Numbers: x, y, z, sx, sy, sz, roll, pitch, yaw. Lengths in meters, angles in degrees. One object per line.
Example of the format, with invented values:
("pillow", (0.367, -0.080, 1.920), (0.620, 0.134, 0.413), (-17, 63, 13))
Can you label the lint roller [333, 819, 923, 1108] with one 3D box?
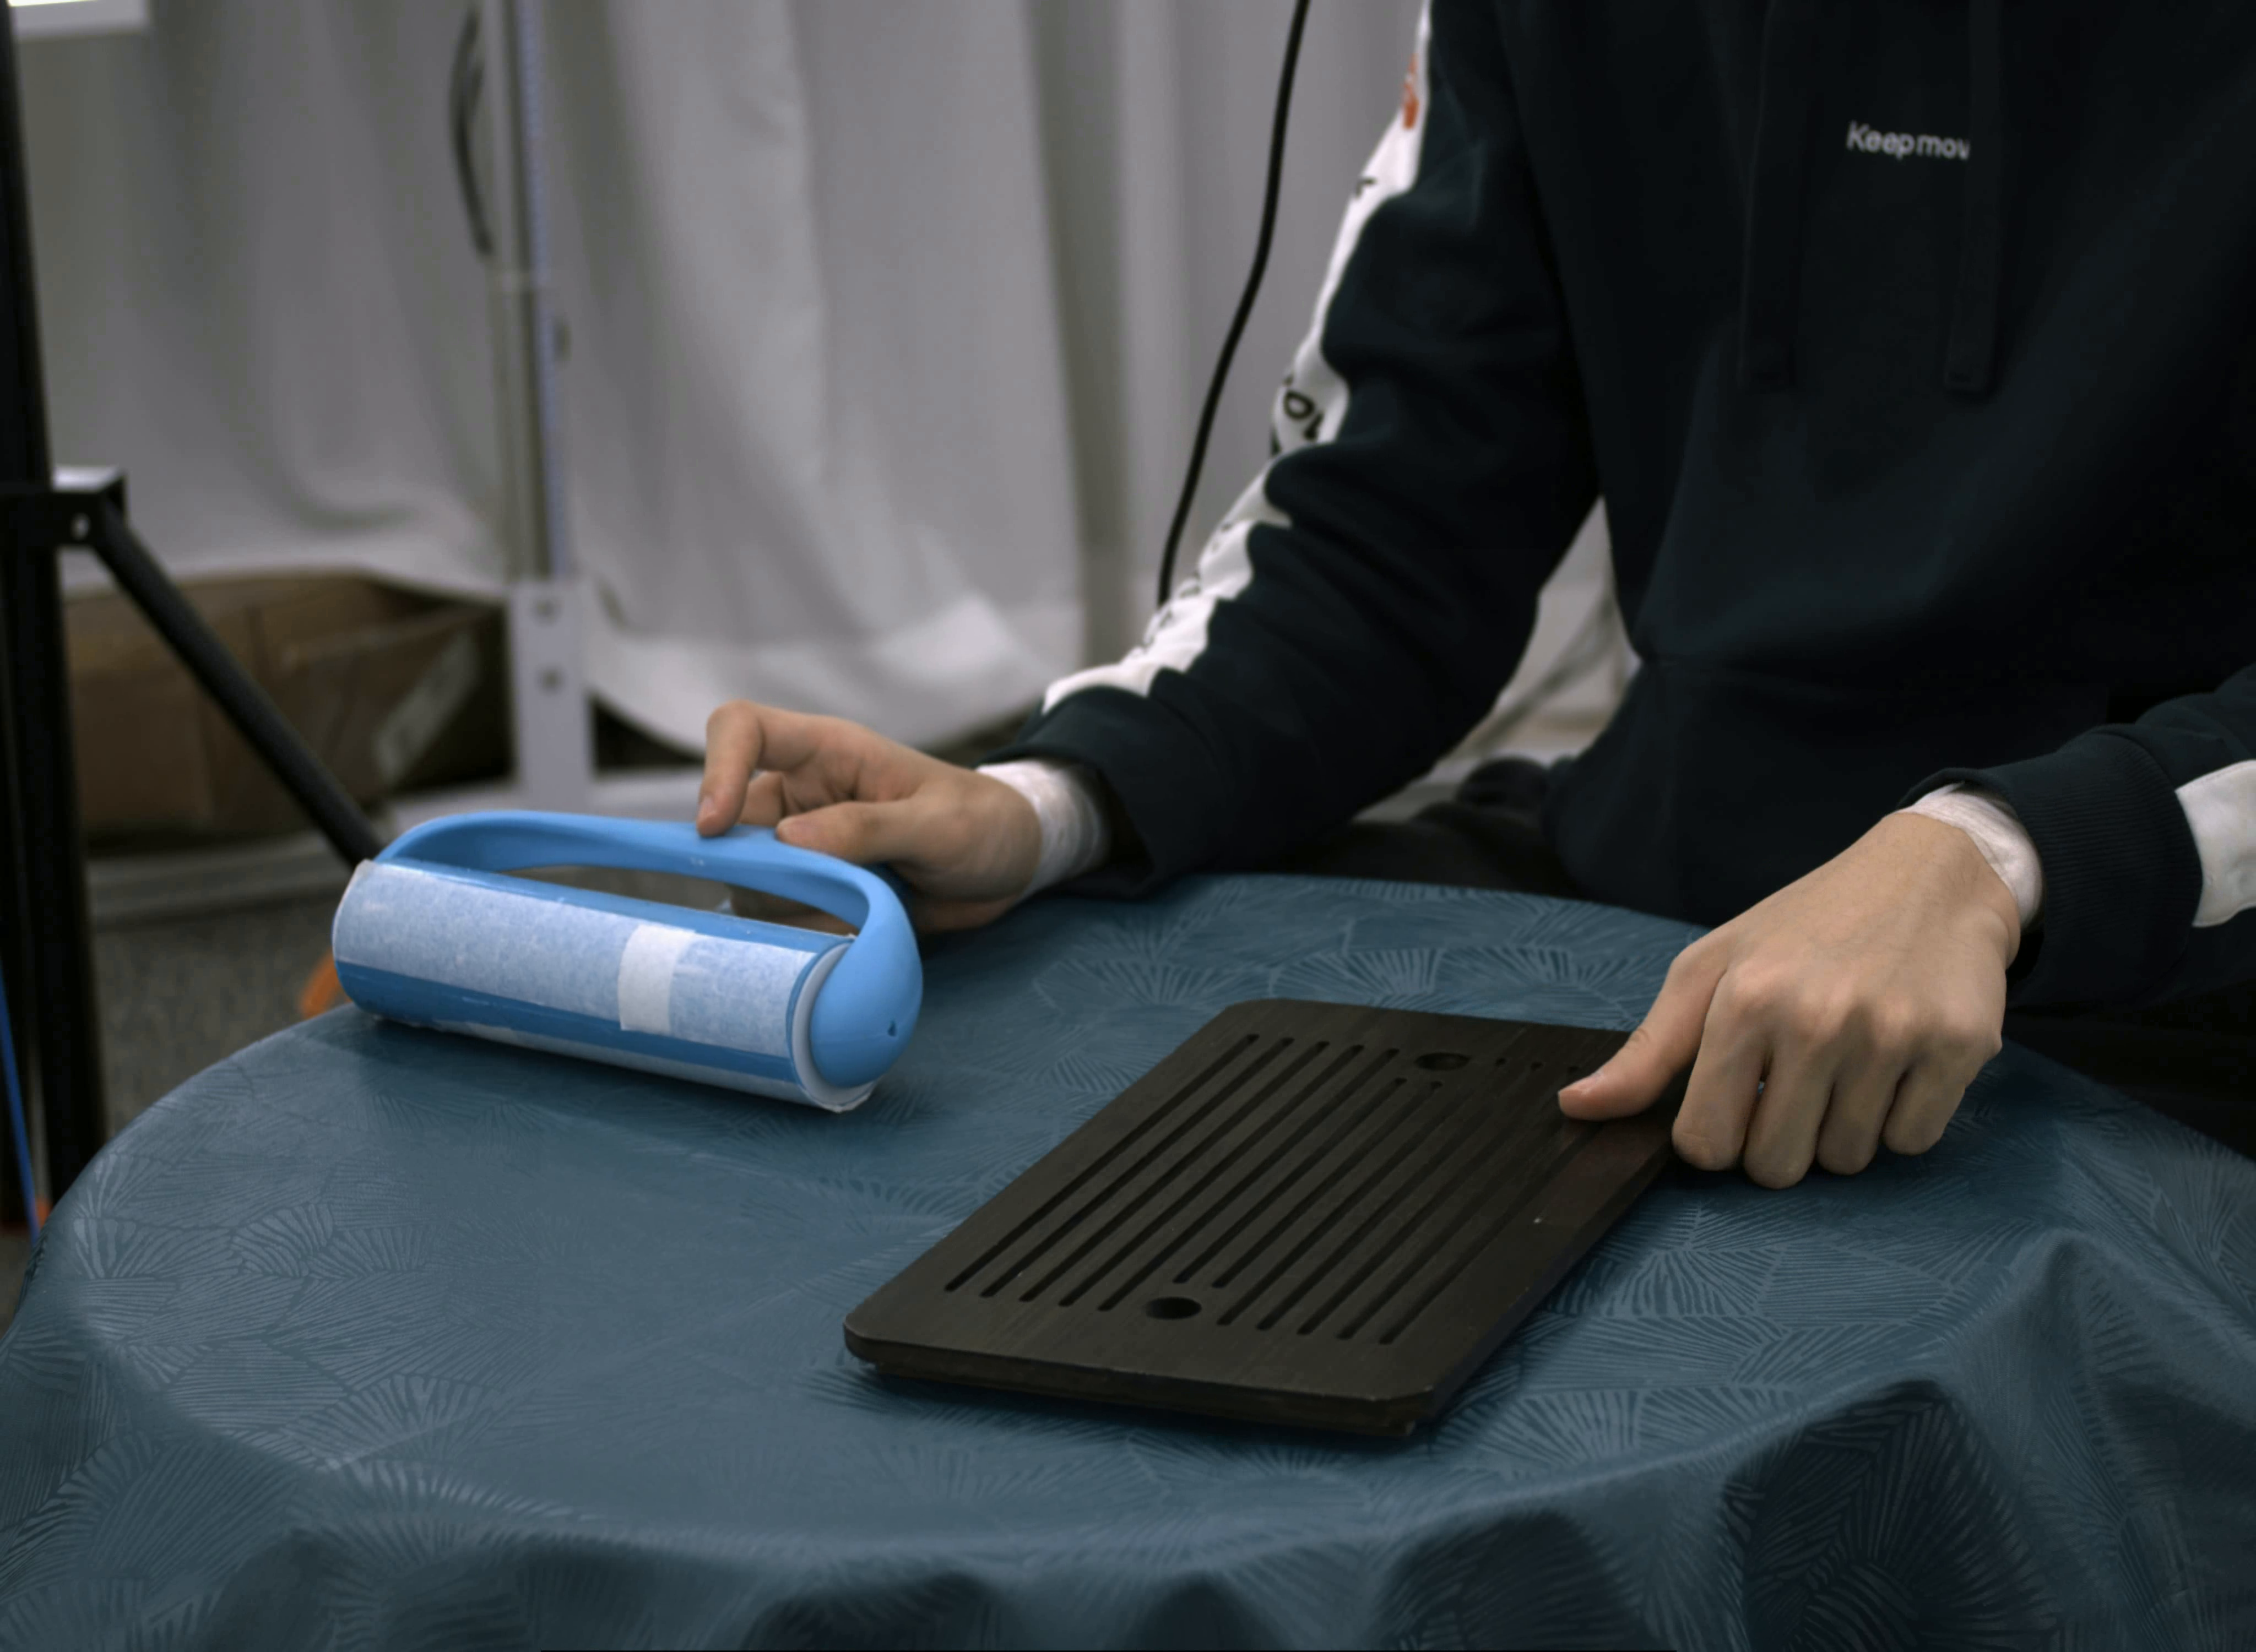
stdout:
("lint roller", (-0.131, 0.032, 1.741), (0.233, 0.068, 0.177), (6, 19, 35))

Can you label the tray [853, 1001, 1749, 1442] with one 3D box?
("tray", (0.058, 0.109, 1.511), (0.172, 0.018, 0.302), (4, 17, 23))
